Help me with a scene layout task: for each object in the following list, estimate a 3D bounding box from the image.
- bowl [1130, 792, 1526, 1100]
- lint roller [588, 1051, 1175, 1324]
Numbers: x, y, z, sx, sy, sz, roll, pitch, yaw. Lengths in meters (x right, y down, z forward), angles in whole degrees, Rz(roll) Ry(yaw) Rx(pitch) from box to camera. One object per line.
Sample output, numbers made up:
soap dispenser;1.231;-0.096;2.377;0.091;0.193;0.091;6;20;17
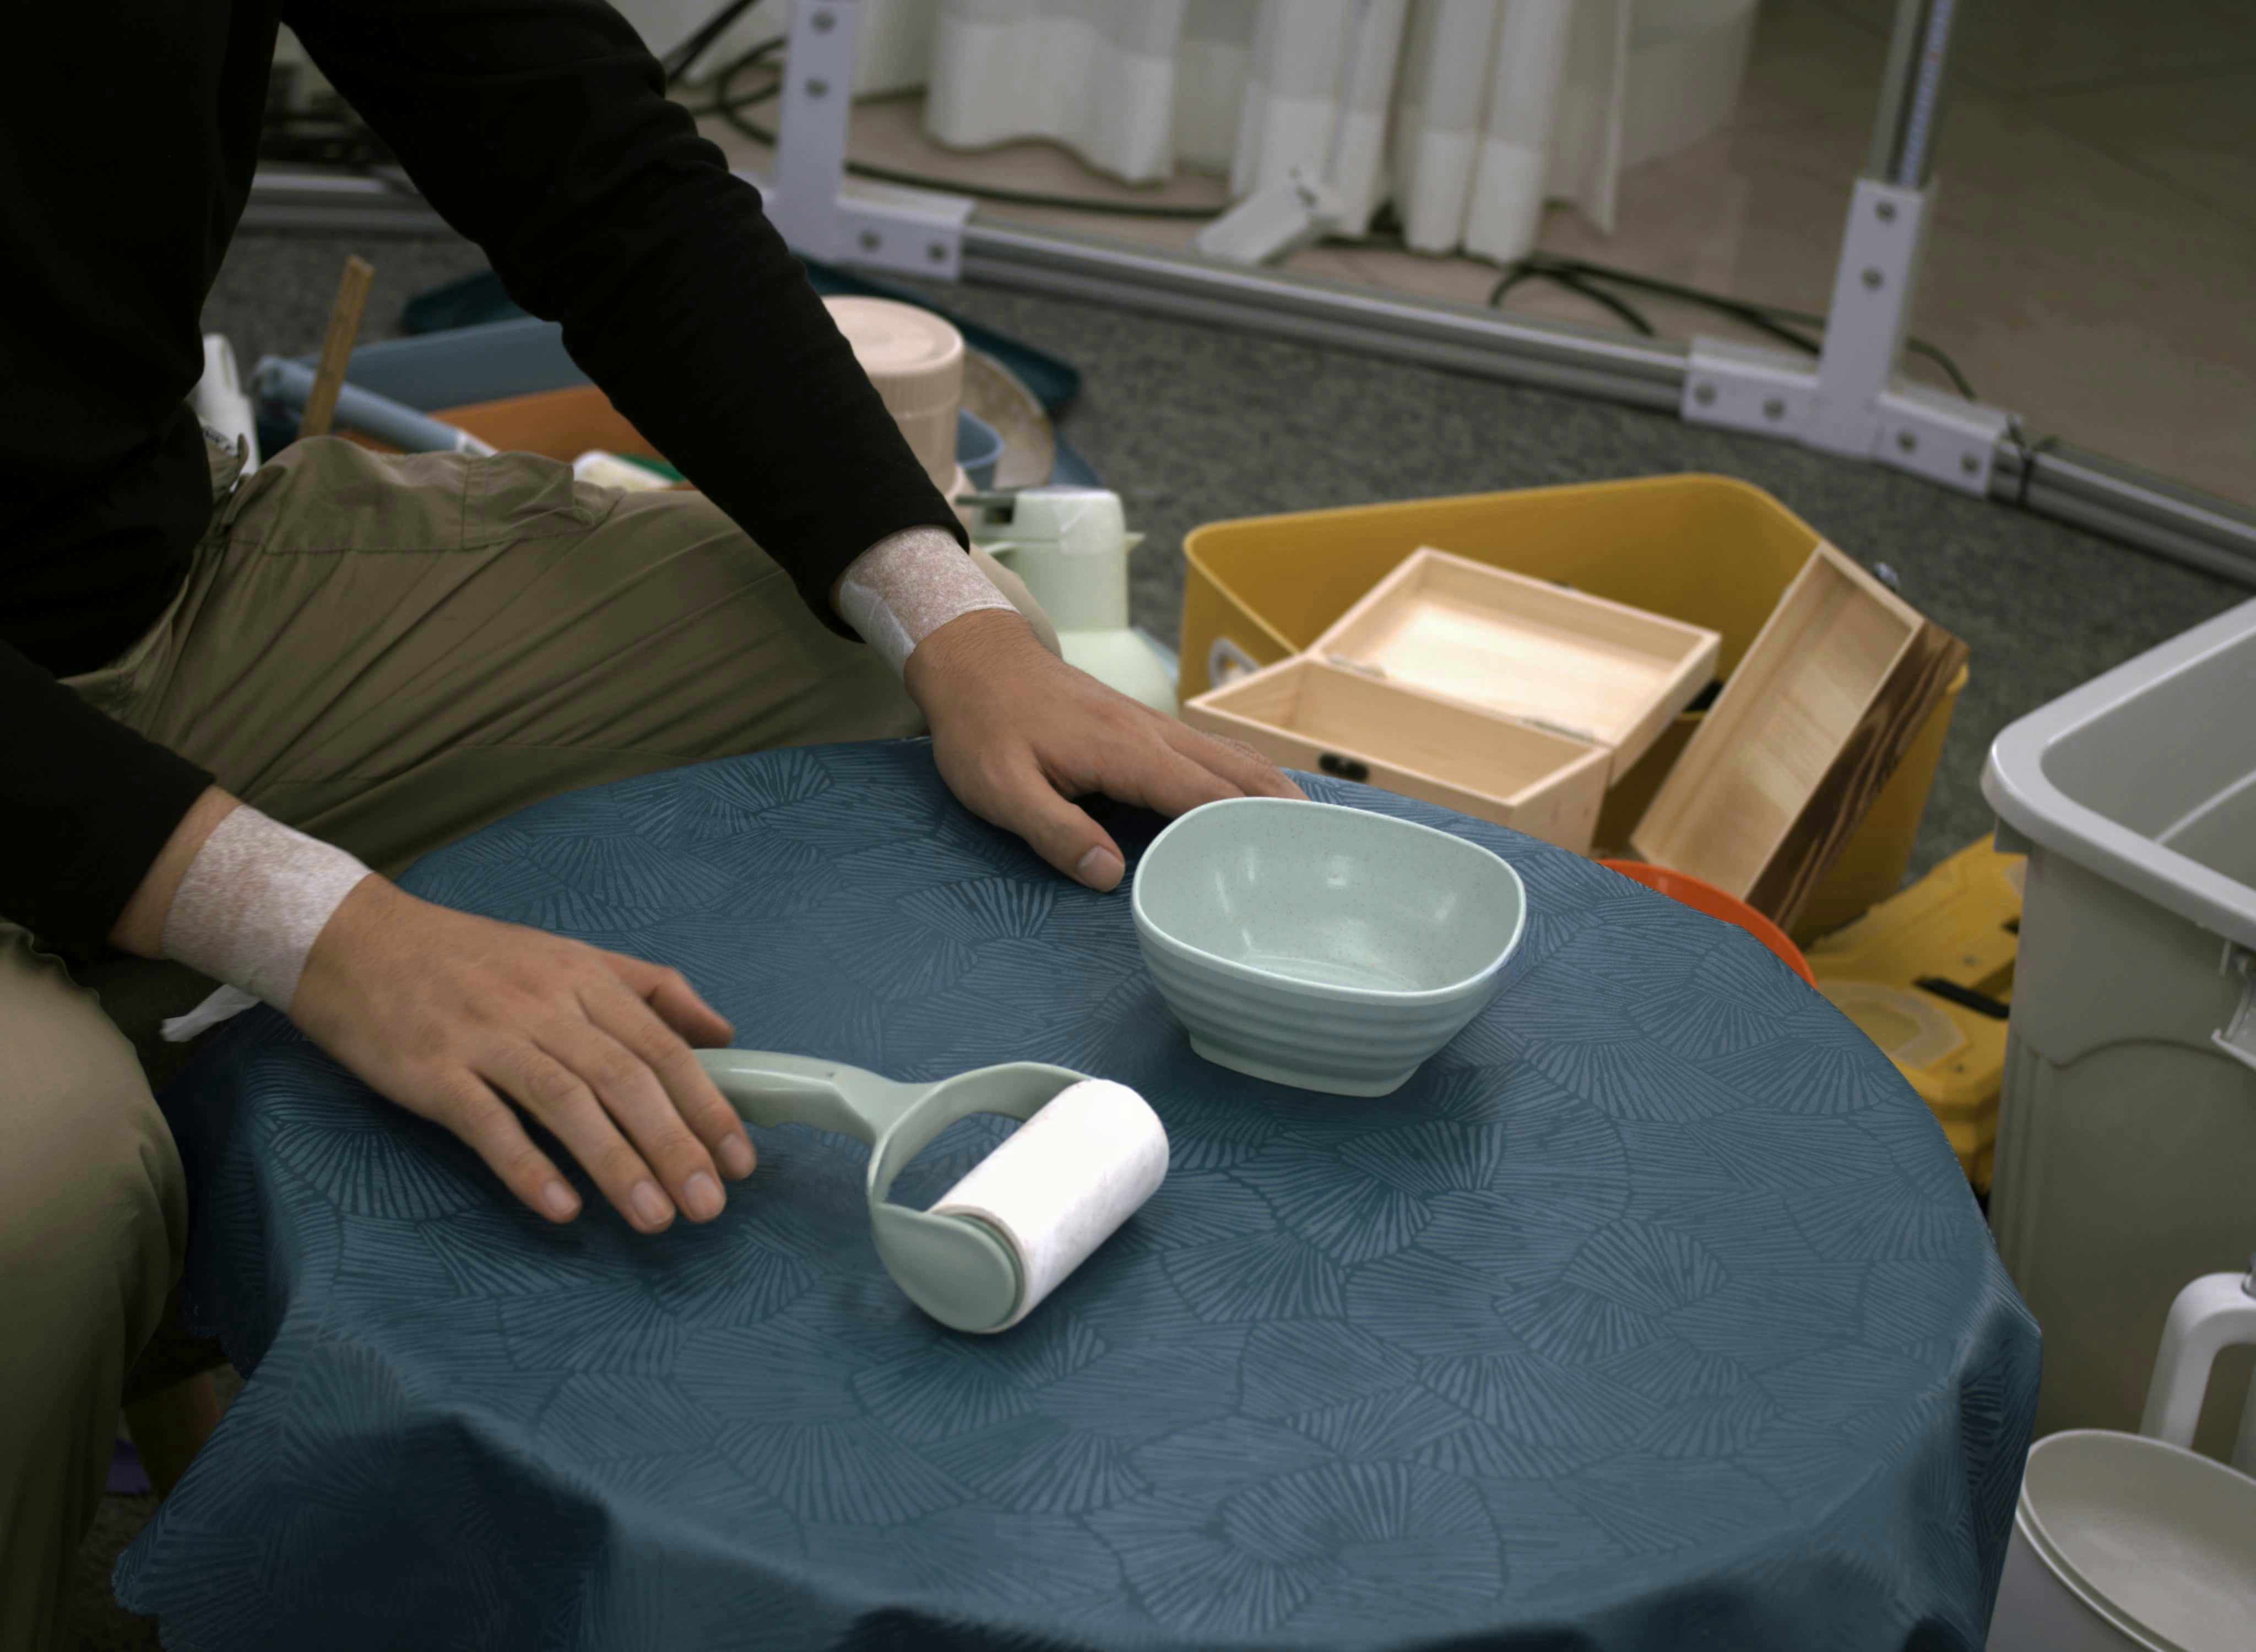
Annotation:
bowl;0.068;0.049;1.902;0.151;0.058;0.152;6;28;-4
lint roller;-0.091;0.101;1.777;0.198;0.048;0.116;17;30;22
